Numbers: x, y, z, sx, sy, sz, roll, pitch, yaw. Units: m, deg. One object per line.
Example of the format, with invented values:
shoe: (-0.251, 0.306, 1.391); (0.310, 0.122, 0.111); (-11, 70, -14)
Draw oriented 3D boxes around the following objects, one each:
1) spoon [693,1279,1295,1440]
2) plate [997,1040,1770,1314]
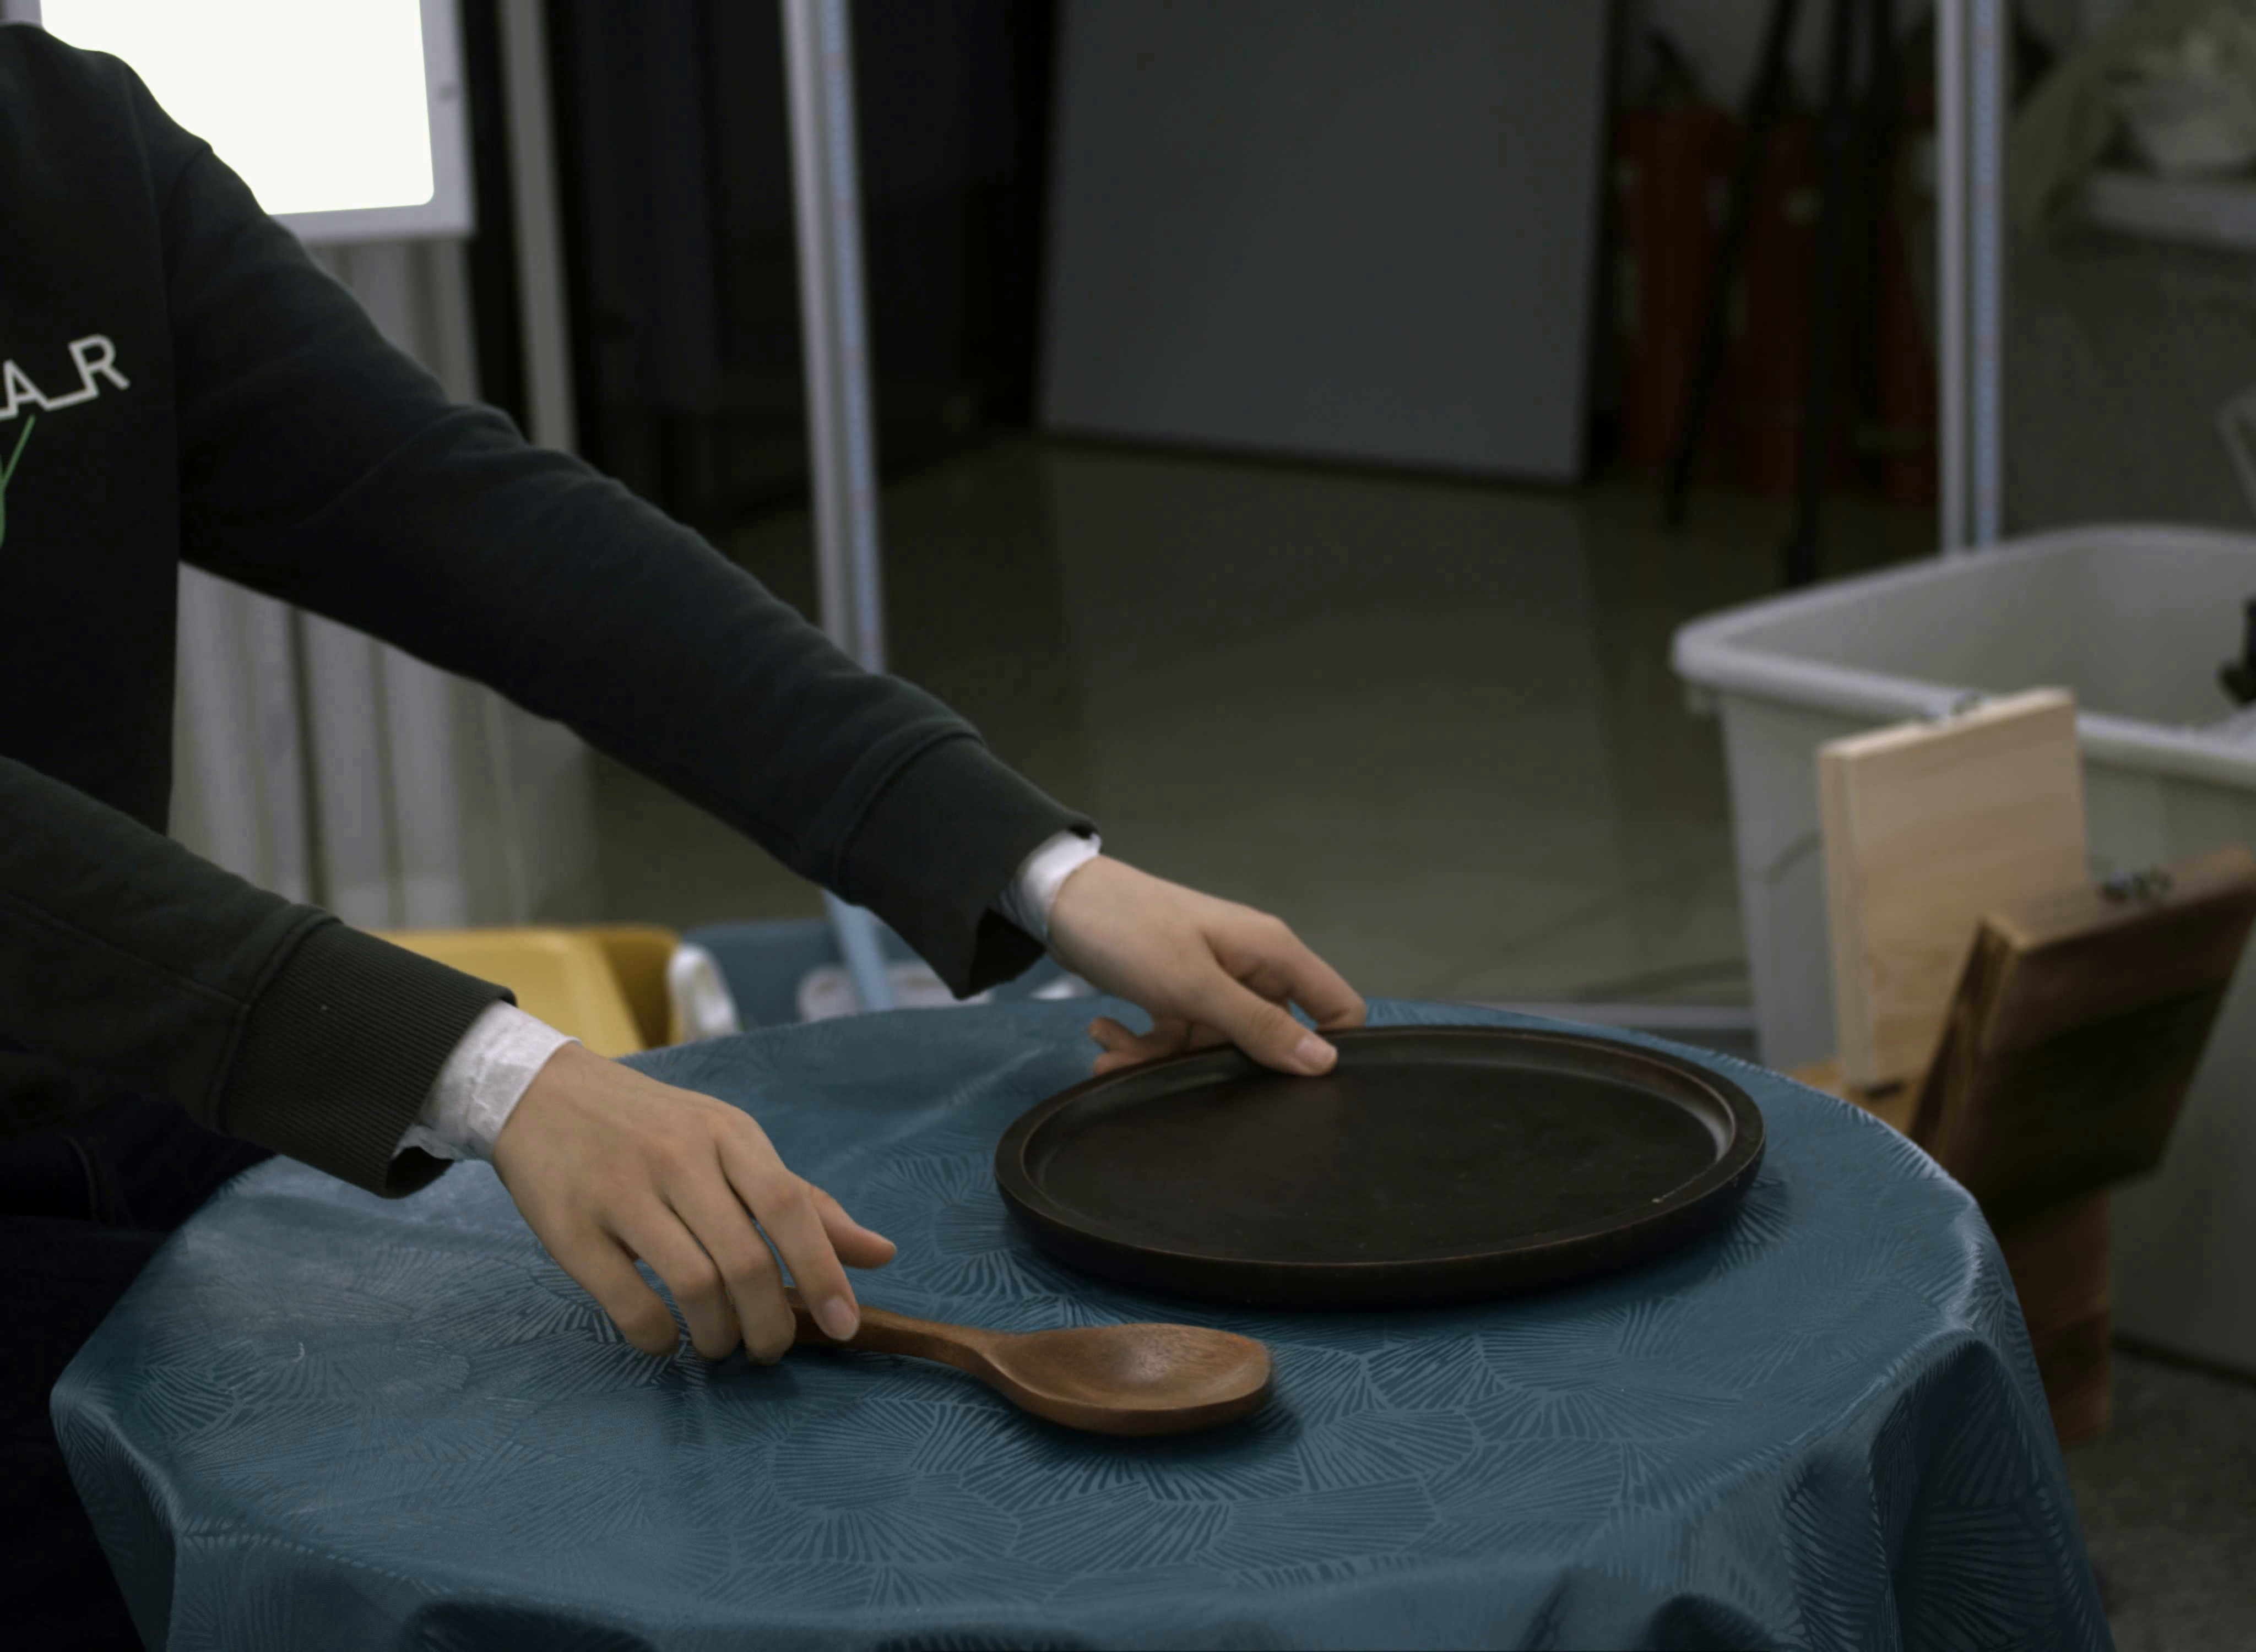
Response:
spoon: (-0.044, 0.157, 1.603); (0.217, 0.017, 0.074); (7, 18, 37)
plate: (0.082, 0.111, 1.744); (0.251, 0.029, 0.255); (-3, 14, 0)
